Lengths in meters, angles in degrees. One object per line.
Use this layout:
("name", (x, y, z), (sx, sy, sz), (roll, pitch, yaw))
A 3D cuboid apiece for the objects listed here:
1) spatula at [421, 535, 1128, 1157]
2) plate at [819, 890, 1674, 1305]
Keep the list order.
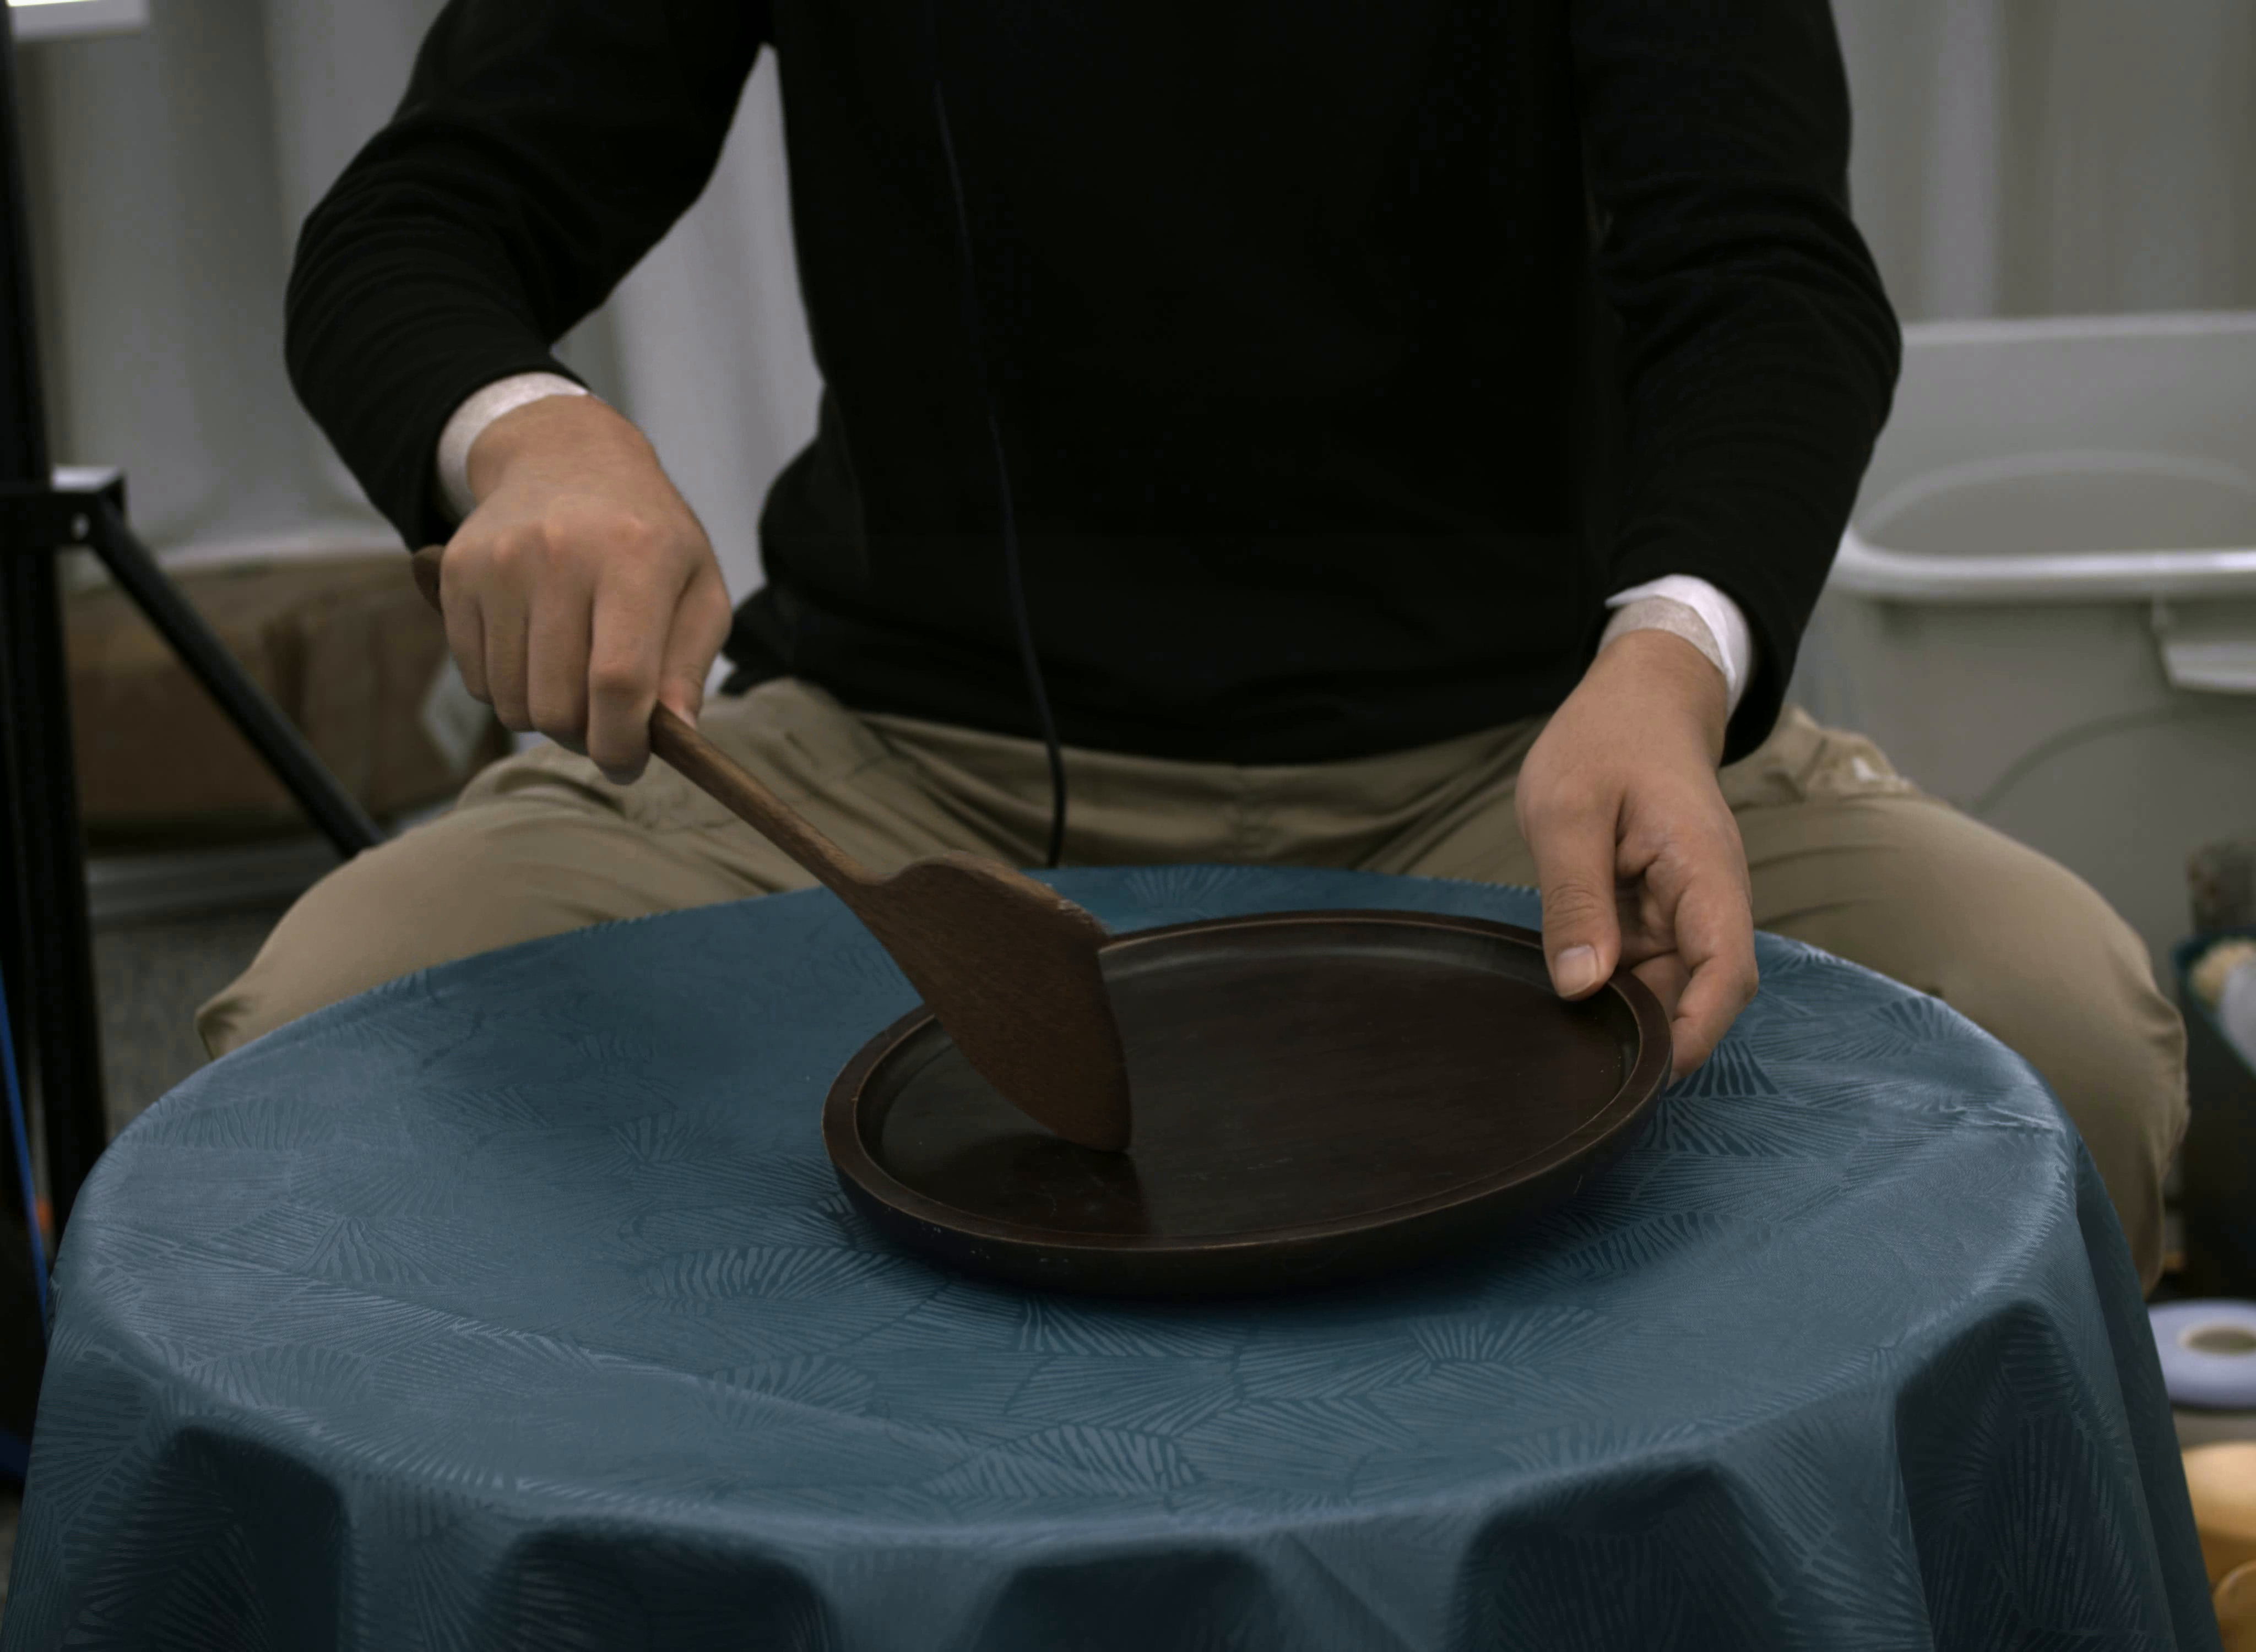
("spatula", (-0.116, -0.012, 1.636), (0.015, 0.095, 0.395), (-27, 38, -24))
("plate", (0.035, 0.080, 1.562), (0.254, 0.029, 0.256), (-8, 20, 2))
